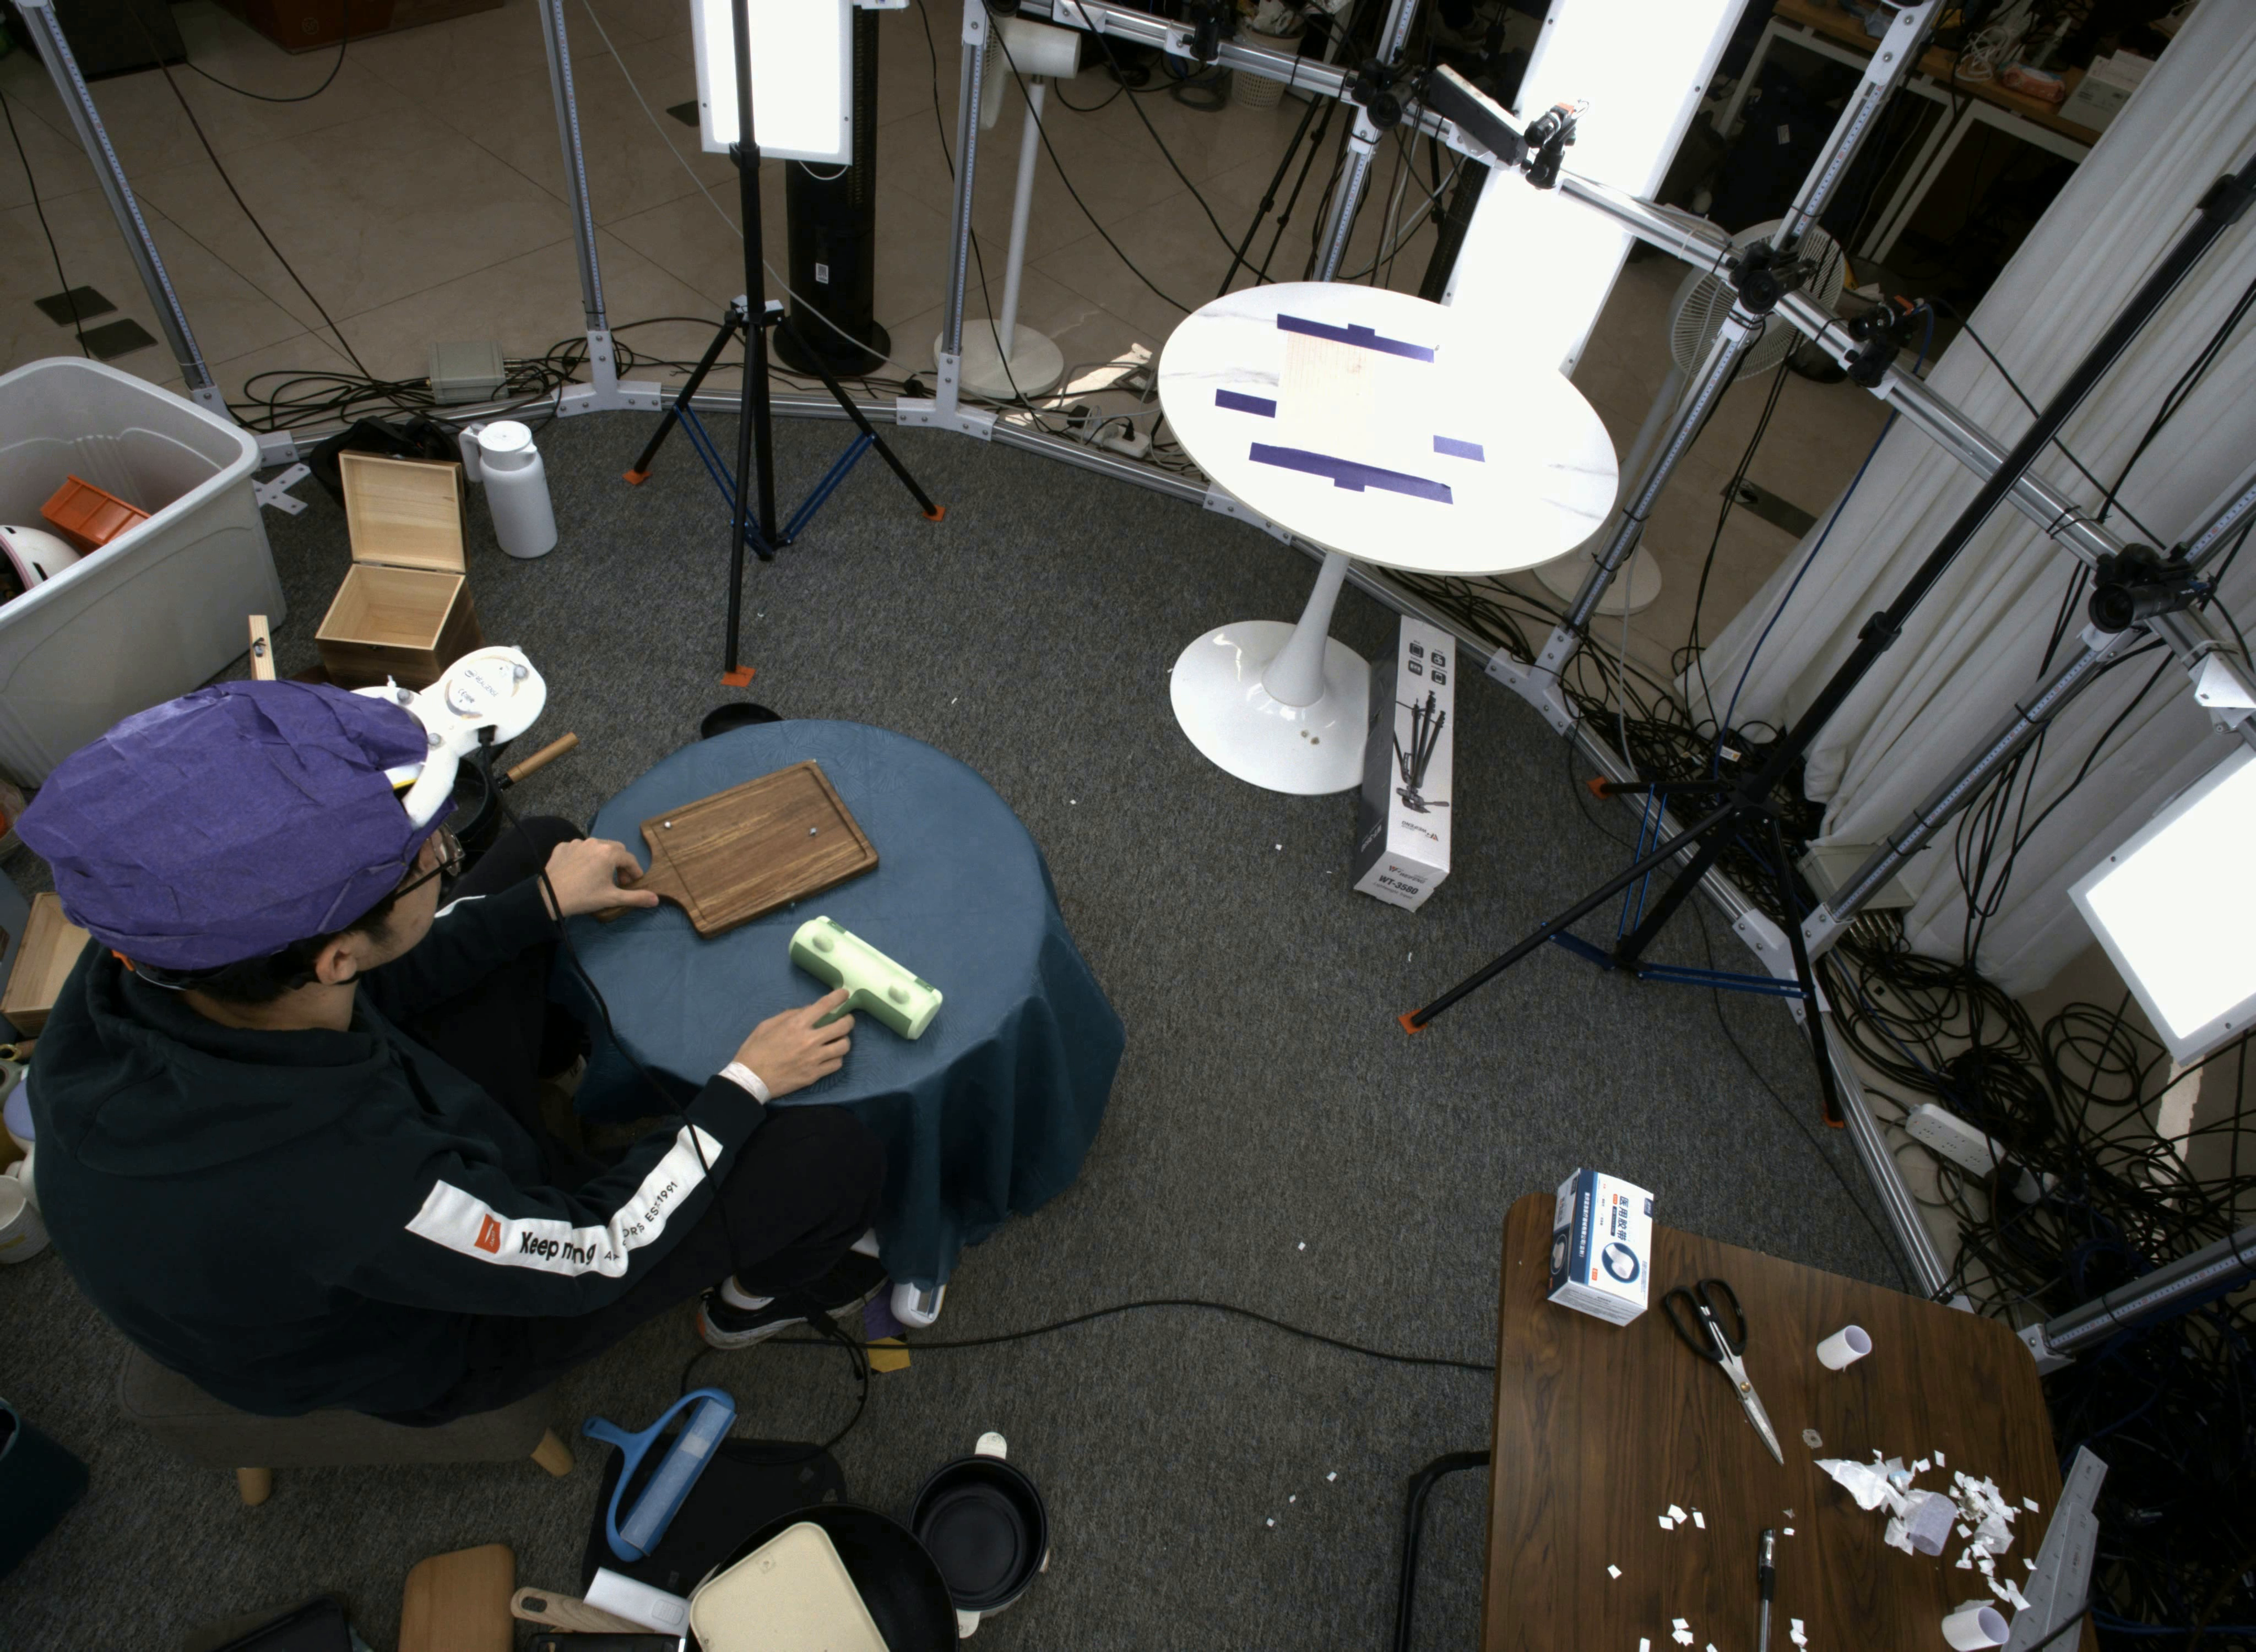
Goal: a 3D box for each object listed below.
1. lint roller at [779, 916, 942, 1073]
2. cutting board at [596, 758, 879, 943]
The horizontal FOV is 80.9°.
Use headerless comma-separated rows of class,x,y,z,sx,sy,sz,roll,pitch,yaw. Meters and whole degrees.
lint roller,-0.350,0.210,1.545,0.195,0.084,0.183,32,49,10
cutting board,-0.518,0.042,1.660,0.354,0.023,0.196,-25,64,-29
